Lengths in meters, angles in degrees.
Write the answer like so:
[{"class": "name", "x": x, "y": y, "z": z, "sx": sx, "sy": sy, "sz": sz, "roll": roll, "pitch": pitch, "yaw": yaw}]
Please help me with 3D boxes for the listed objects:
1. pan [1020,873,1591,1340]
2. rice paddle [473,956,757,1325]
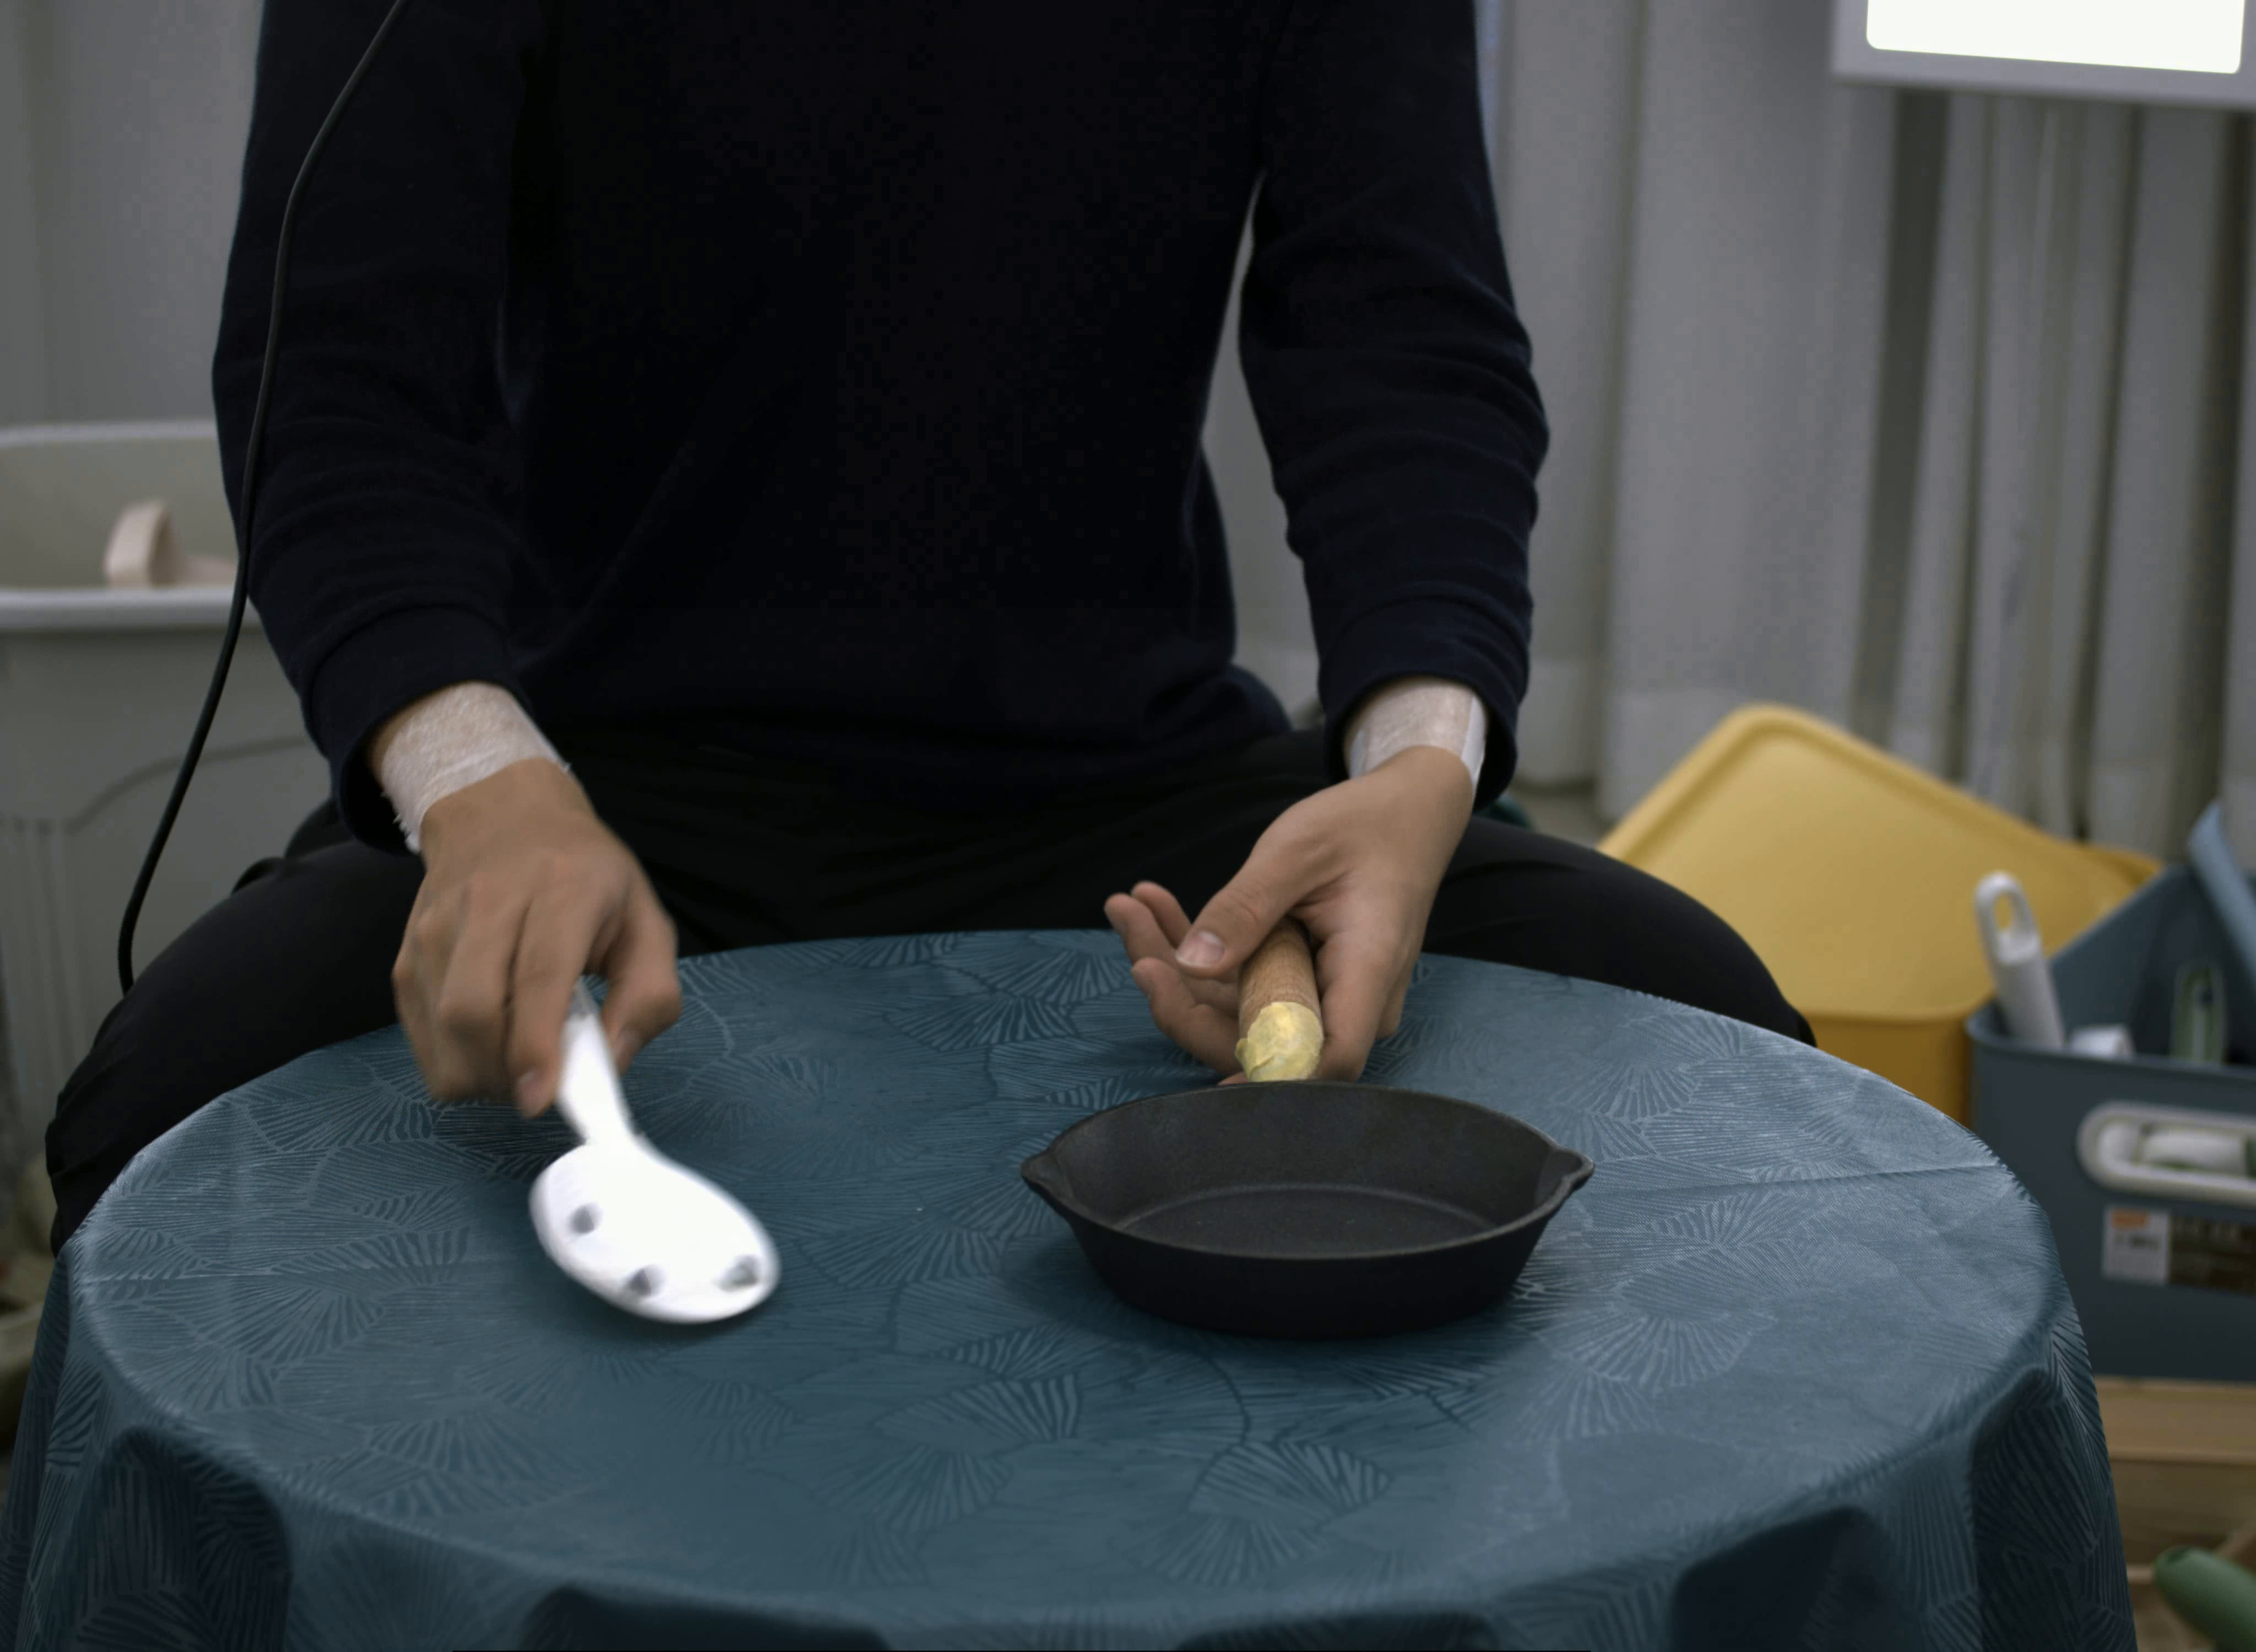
[{"class": "pan", "x": 0.053, "y": 0.083, "z": 1.634, "sx": 0.168, "sy": 0.050, "sz": 0.322, "roll": 0, "pitch": 17, "yaw": 0}, {"class": "rice paddle", "x": -0.160, "y": 0.096, "z": 1.578, "sx": 0.069, "sy": 0.029, "sz": 0.203, "roll": 2, "pitch": 24, "yaw": -20}]
